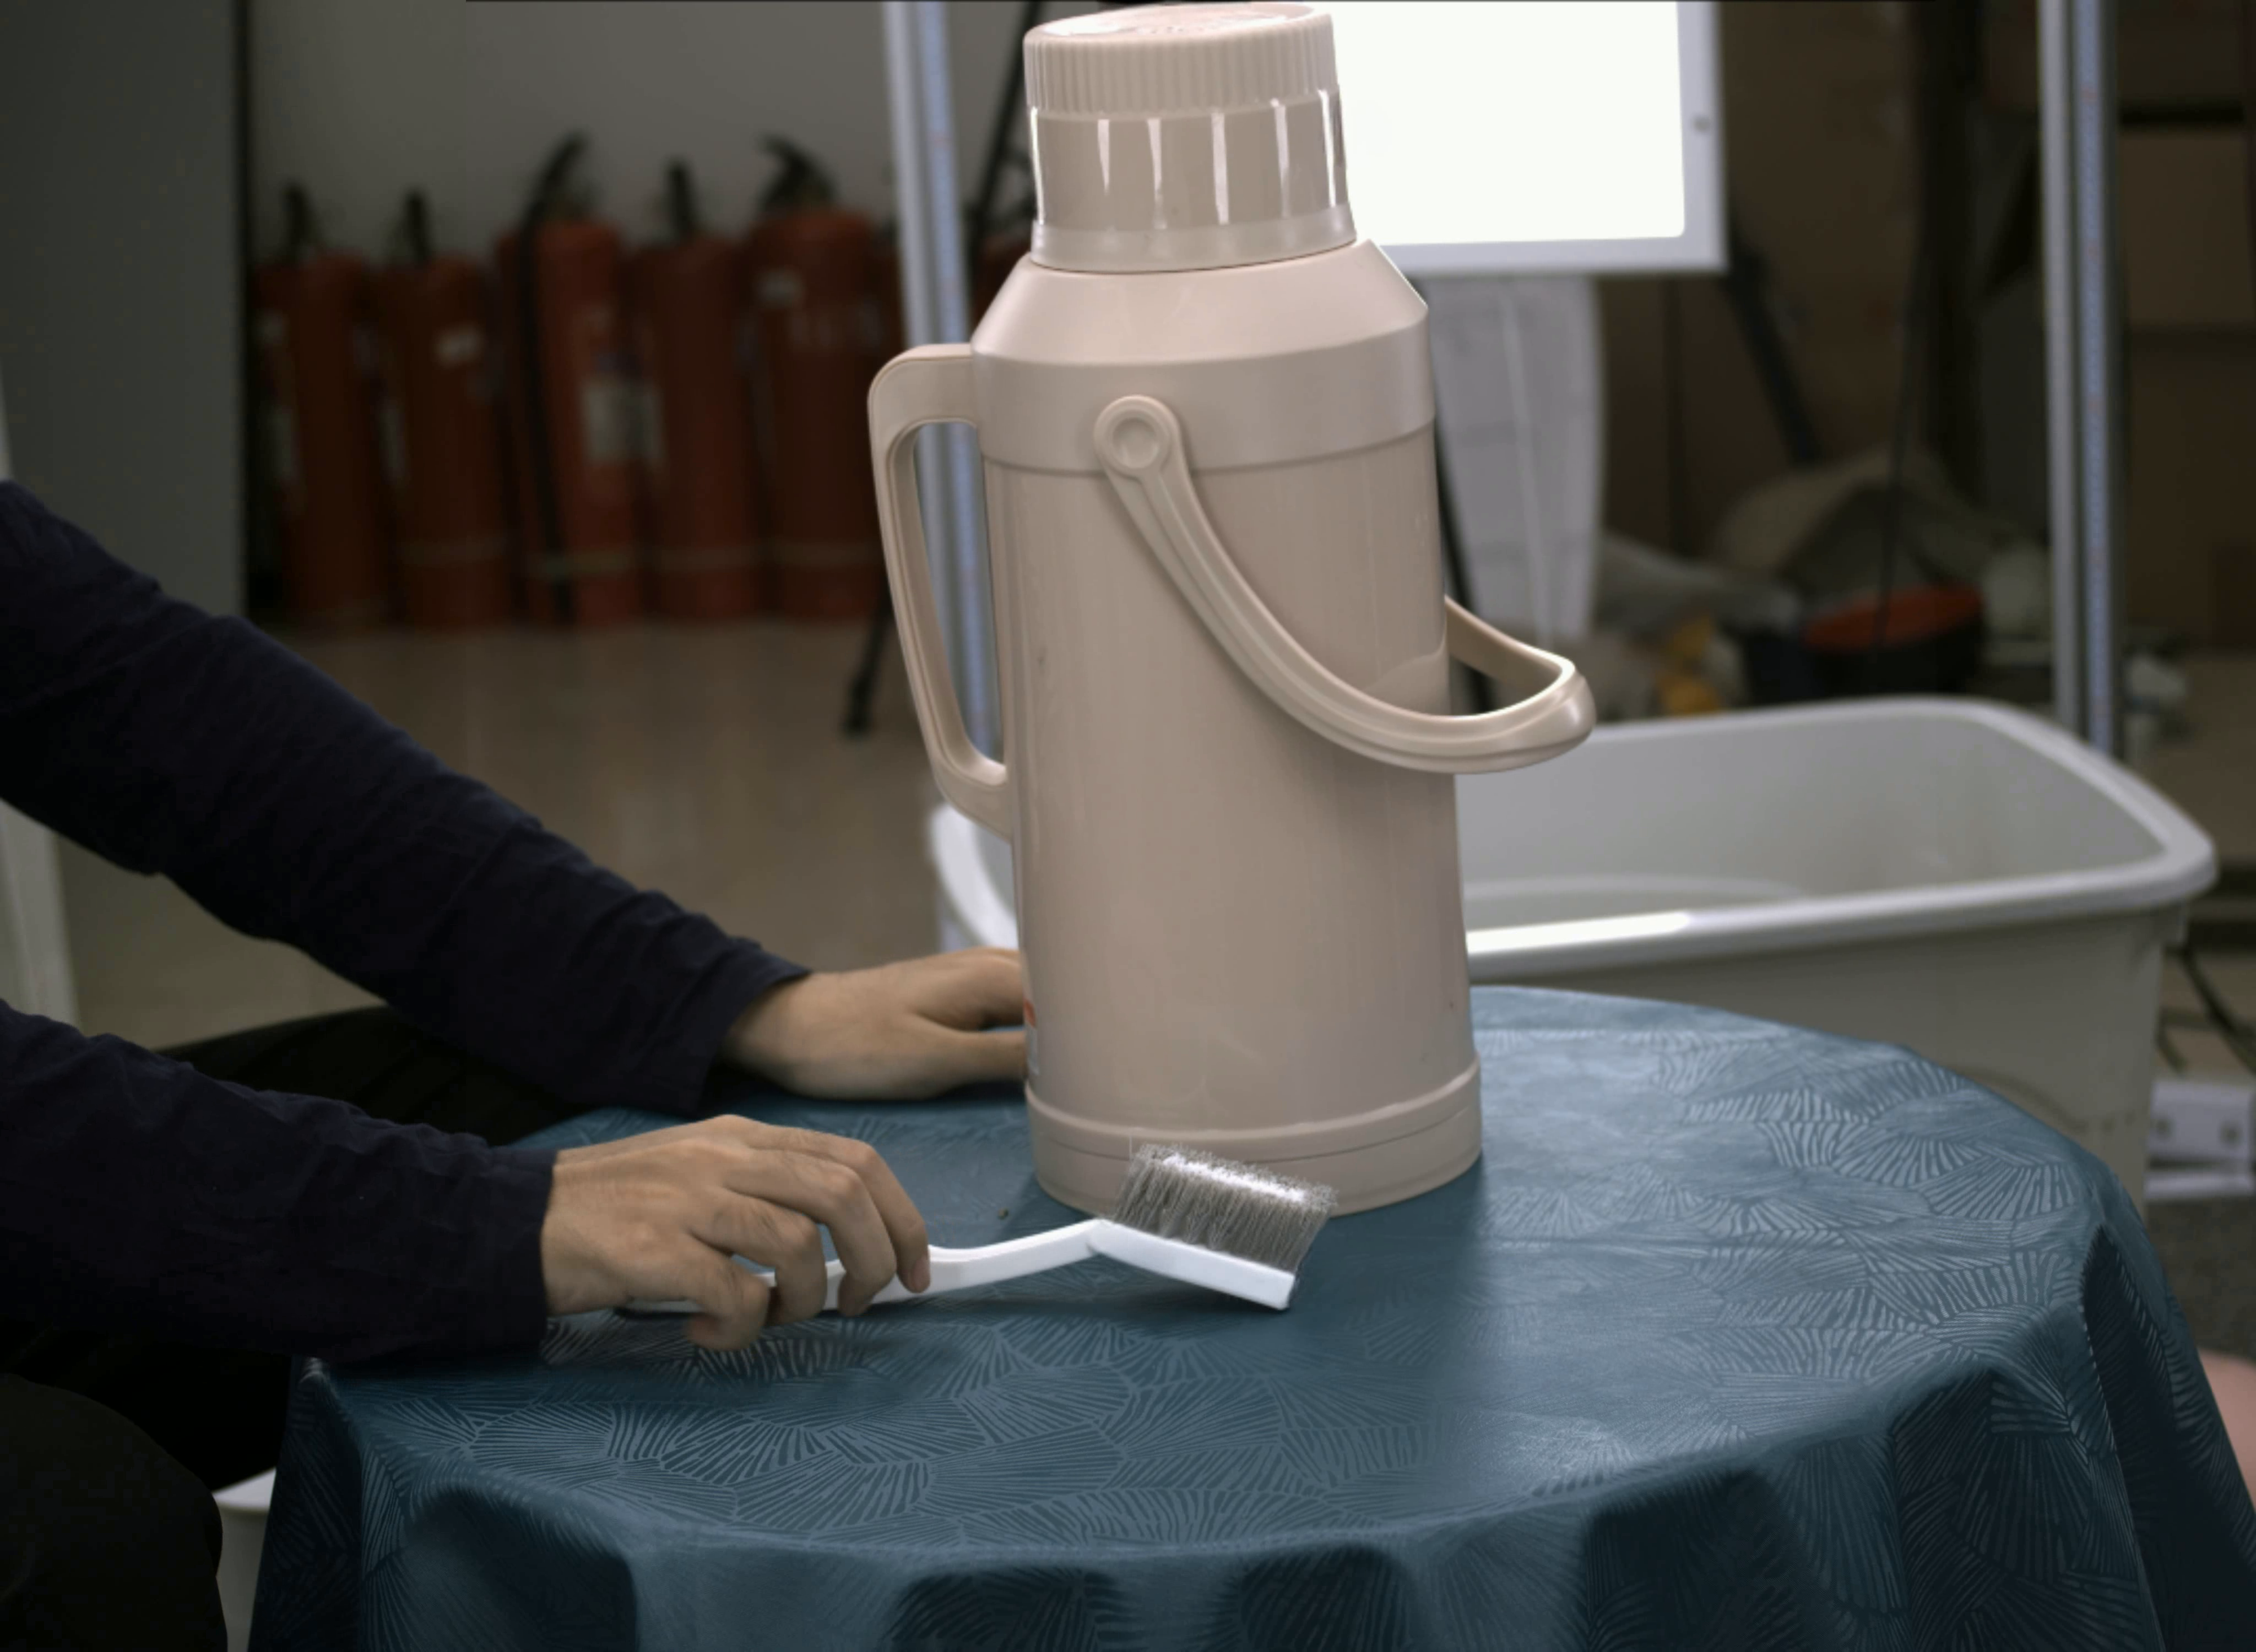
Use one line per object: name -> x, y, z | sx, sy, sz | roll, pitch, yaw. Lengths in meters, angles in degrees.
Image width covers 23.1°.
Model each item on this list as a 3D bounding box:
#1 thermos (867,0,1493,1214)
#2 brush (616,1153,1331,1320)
thermos -> 0.019, -0.076, 1.885 | 0.209, 0.408, 0.173 | -1, 16, 17
brush -> -0.053, 0.132, 1.795 | 0.246, 0.050, 0.034 | -1, 18, 17
